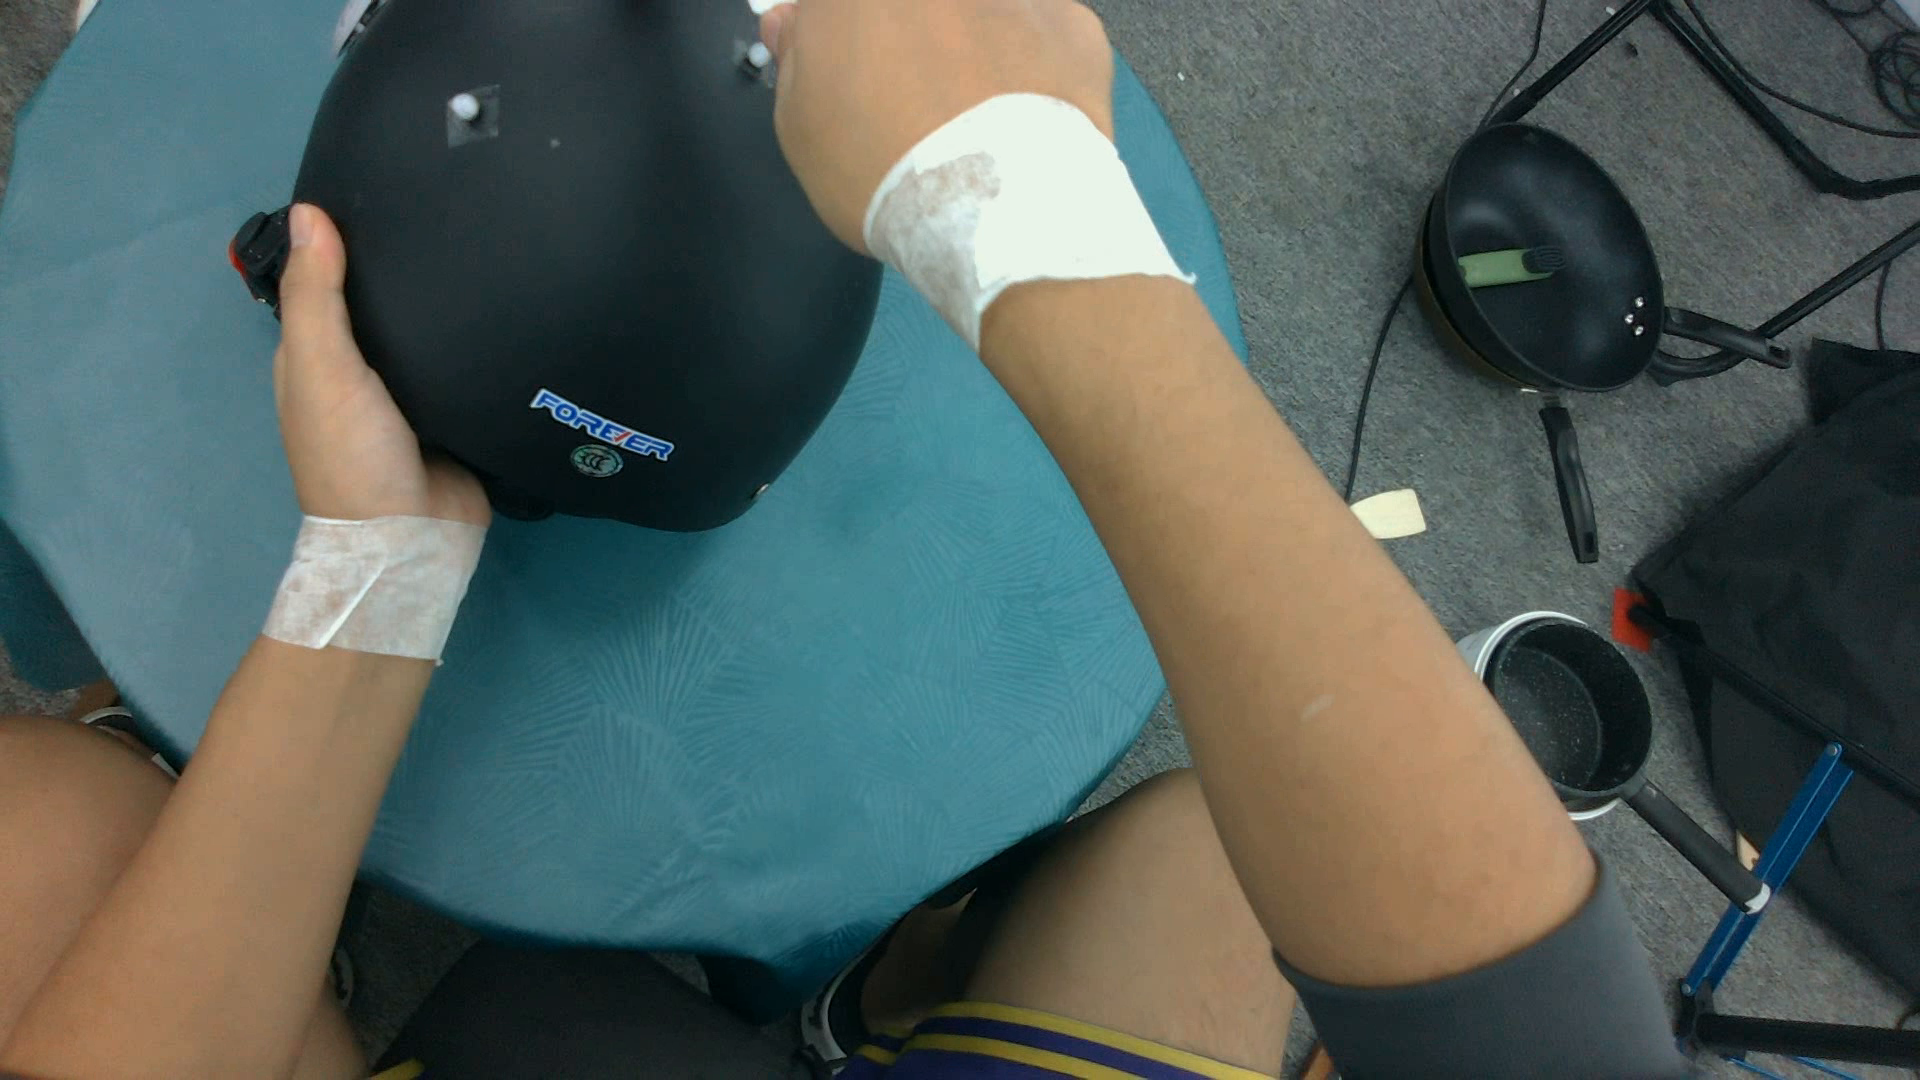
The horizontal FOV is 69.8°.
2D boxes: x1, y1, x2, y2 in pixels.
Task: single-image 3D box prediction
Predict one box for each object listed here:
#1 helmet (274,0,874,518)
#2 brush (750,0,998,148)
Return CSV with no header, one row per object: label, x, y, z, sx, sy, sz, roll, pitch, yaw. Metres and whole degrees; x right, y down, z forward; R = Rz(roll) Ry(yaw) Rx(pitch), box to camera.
helmet,-0.131,-0.152,0.550,0.230,0.166,0.274,28,45,-32
brush,-0.070,-0.175,0.435,0.034,0.050,0.244,-20,56,-34
